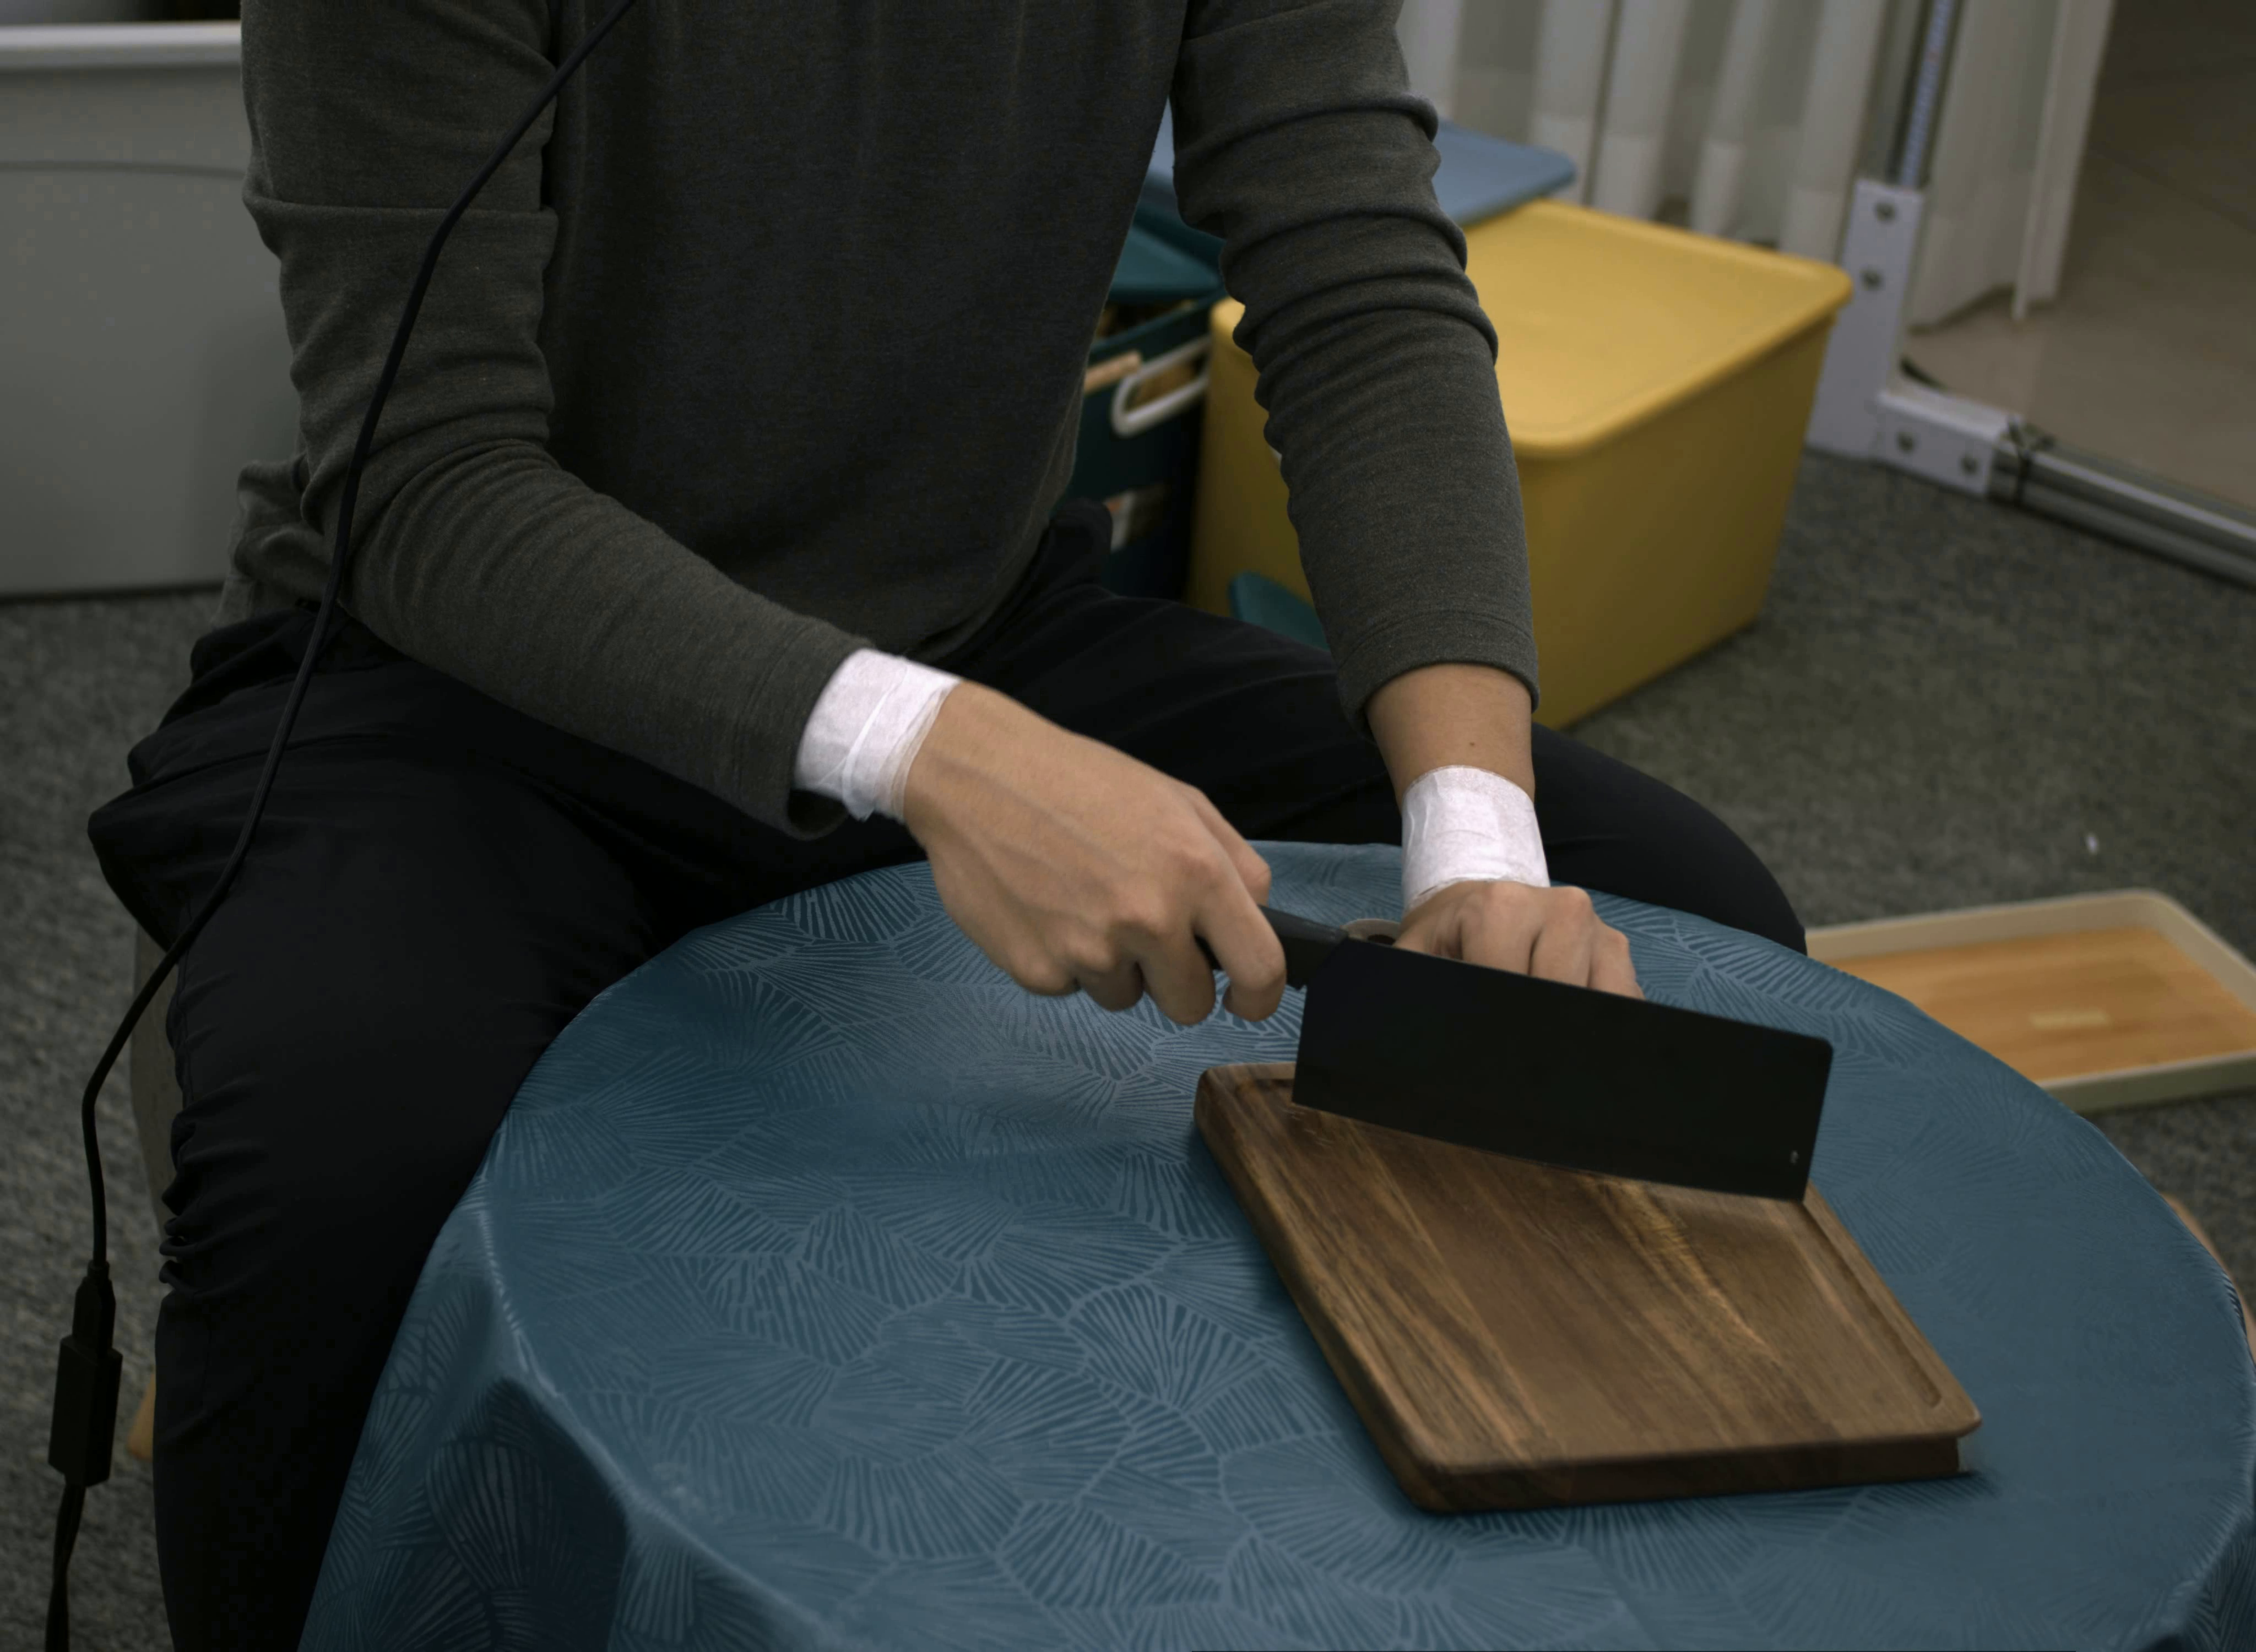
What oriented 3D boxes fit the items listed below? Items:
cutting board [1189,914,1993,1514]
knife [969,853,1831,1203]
[{"bbox_3d":[0.135,0.122,1.816,0.200,0.023,0.355,-2,28,-17],"label":"cutting board"},{"bbox_3d":[0.090,0.066,1.819,0.302,0.081,0.021,17,19,10],"label":"knife"}]
